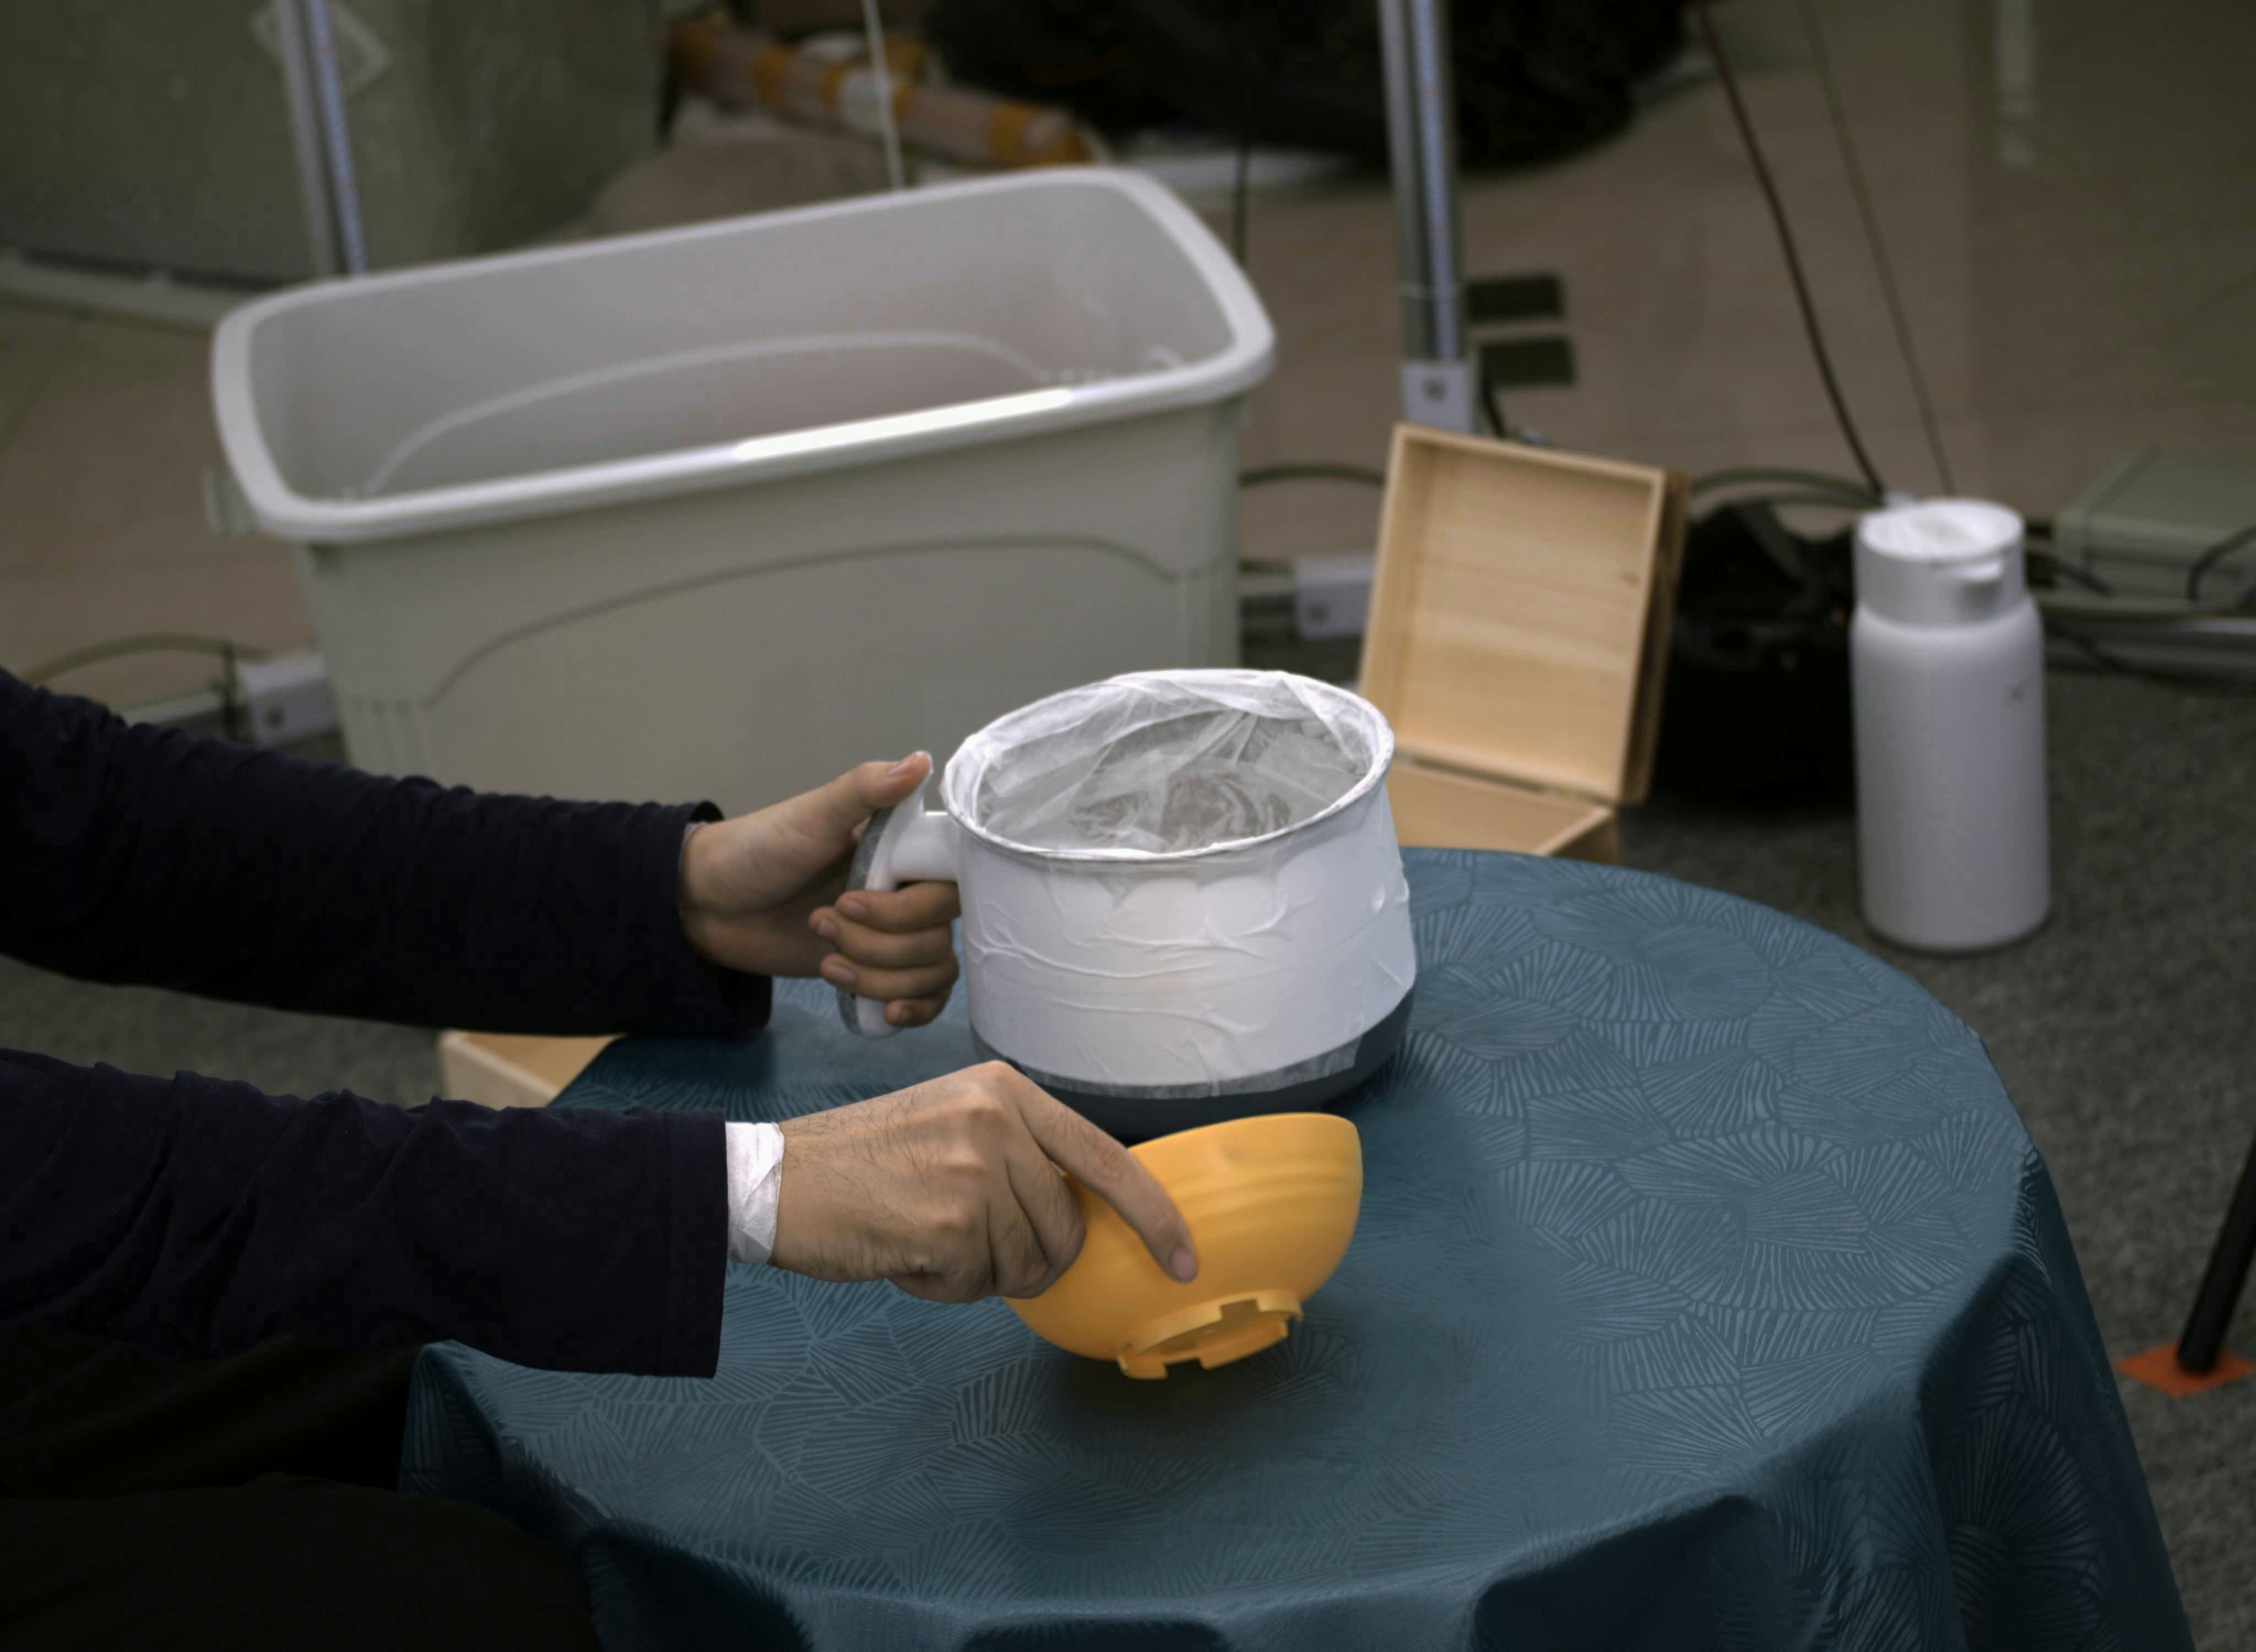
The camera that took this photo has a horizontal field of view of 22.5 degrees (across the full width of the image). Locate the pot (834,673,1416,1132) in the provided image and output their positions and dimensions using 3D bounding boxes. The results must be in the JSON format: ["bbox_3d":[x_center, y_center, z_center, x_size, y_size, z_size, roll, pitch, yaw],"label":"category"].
[{"bbox_3d":[-0.005,0.032,2.217,0.233,0.138,0.176,0,23,12],"label":"pot"}]

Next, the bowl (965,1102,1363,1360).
[{"bbox_3d":[0.018,0.150,1.996,0.145,0.147,0.059,-11,70,-4],"label":"bowl"}]
